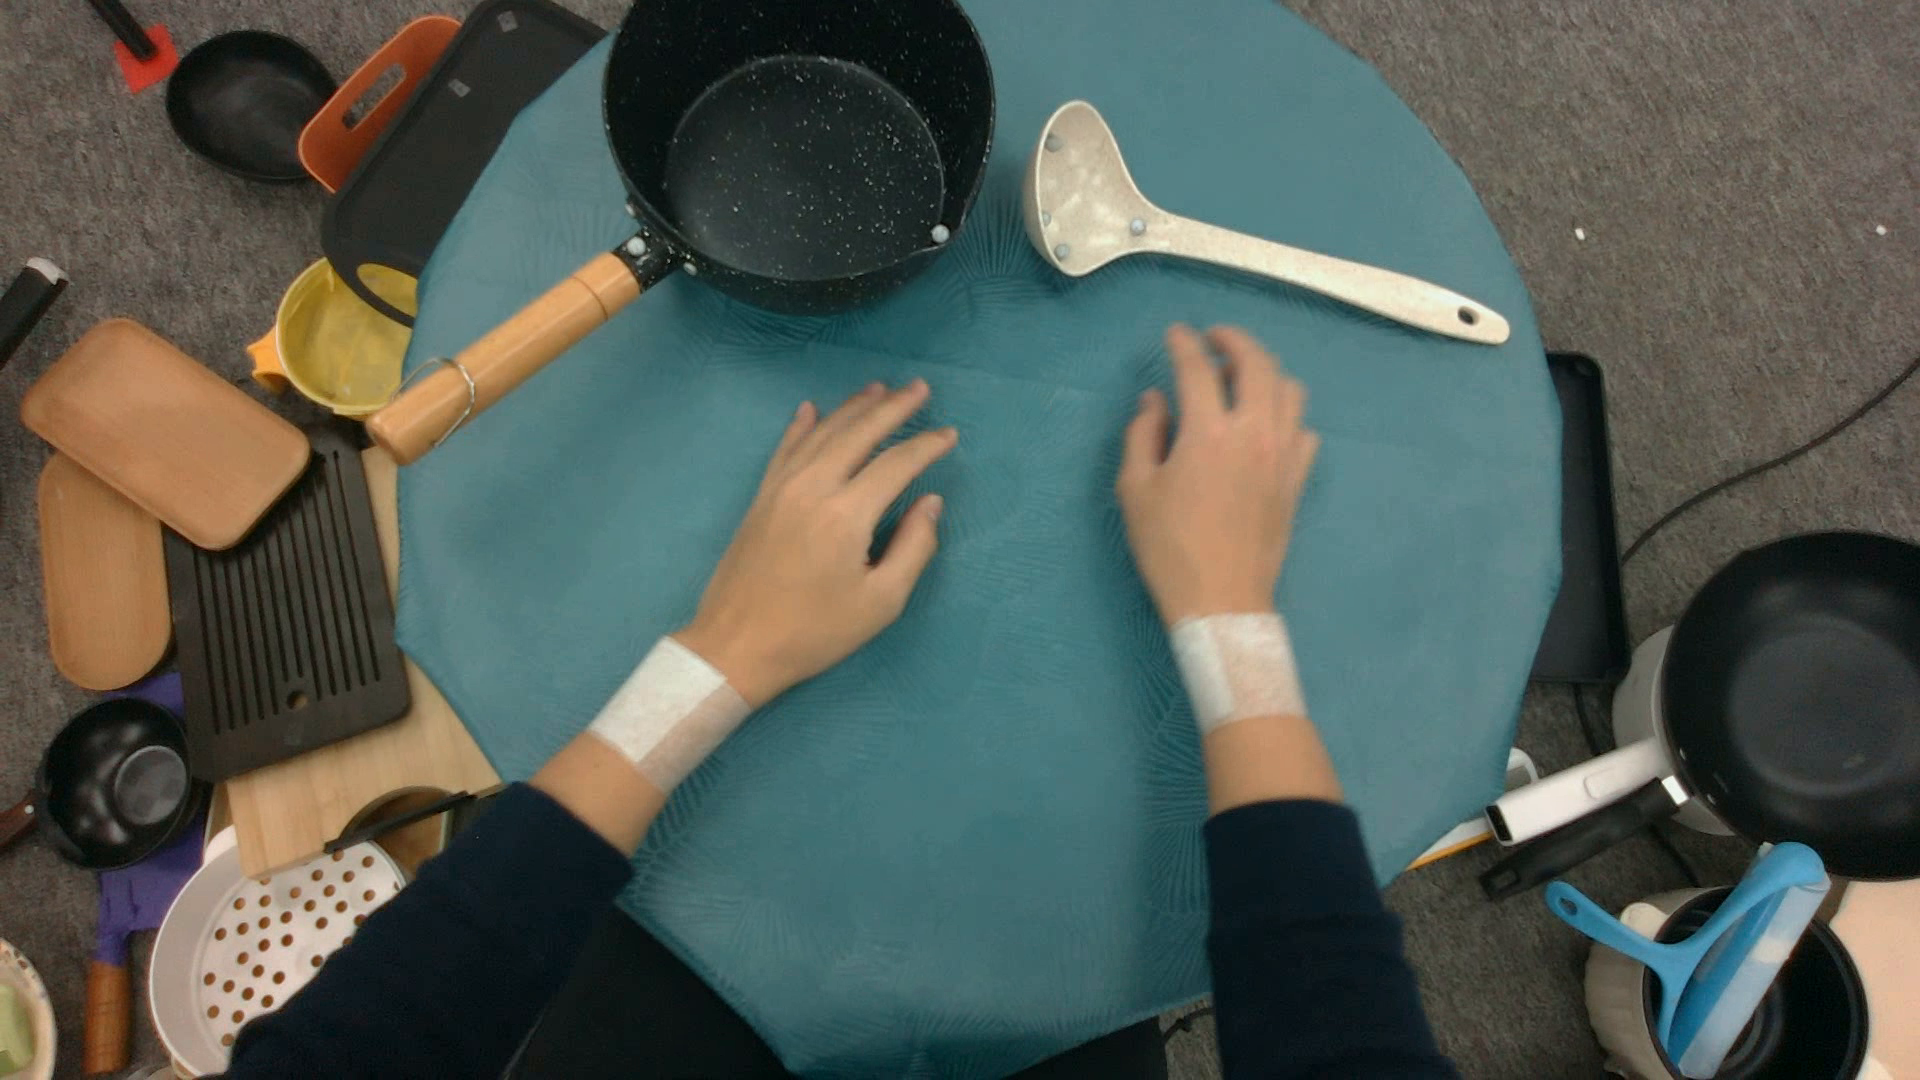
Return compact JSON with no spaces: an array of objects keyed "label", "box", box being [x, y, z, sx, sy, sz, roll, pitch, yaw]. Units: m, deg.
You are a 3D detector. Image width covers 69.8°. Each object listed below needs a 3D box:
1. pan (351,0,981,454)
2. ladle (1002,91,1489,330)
[{"label":"pan","box":[-0.137,-0.150,0.659,0.207,0.108,0.344,42,75,4]},{"label":"ladle","box":[0.156,-0.161,0.711,0.275,0.069,0.089,14,70,-2]}]
